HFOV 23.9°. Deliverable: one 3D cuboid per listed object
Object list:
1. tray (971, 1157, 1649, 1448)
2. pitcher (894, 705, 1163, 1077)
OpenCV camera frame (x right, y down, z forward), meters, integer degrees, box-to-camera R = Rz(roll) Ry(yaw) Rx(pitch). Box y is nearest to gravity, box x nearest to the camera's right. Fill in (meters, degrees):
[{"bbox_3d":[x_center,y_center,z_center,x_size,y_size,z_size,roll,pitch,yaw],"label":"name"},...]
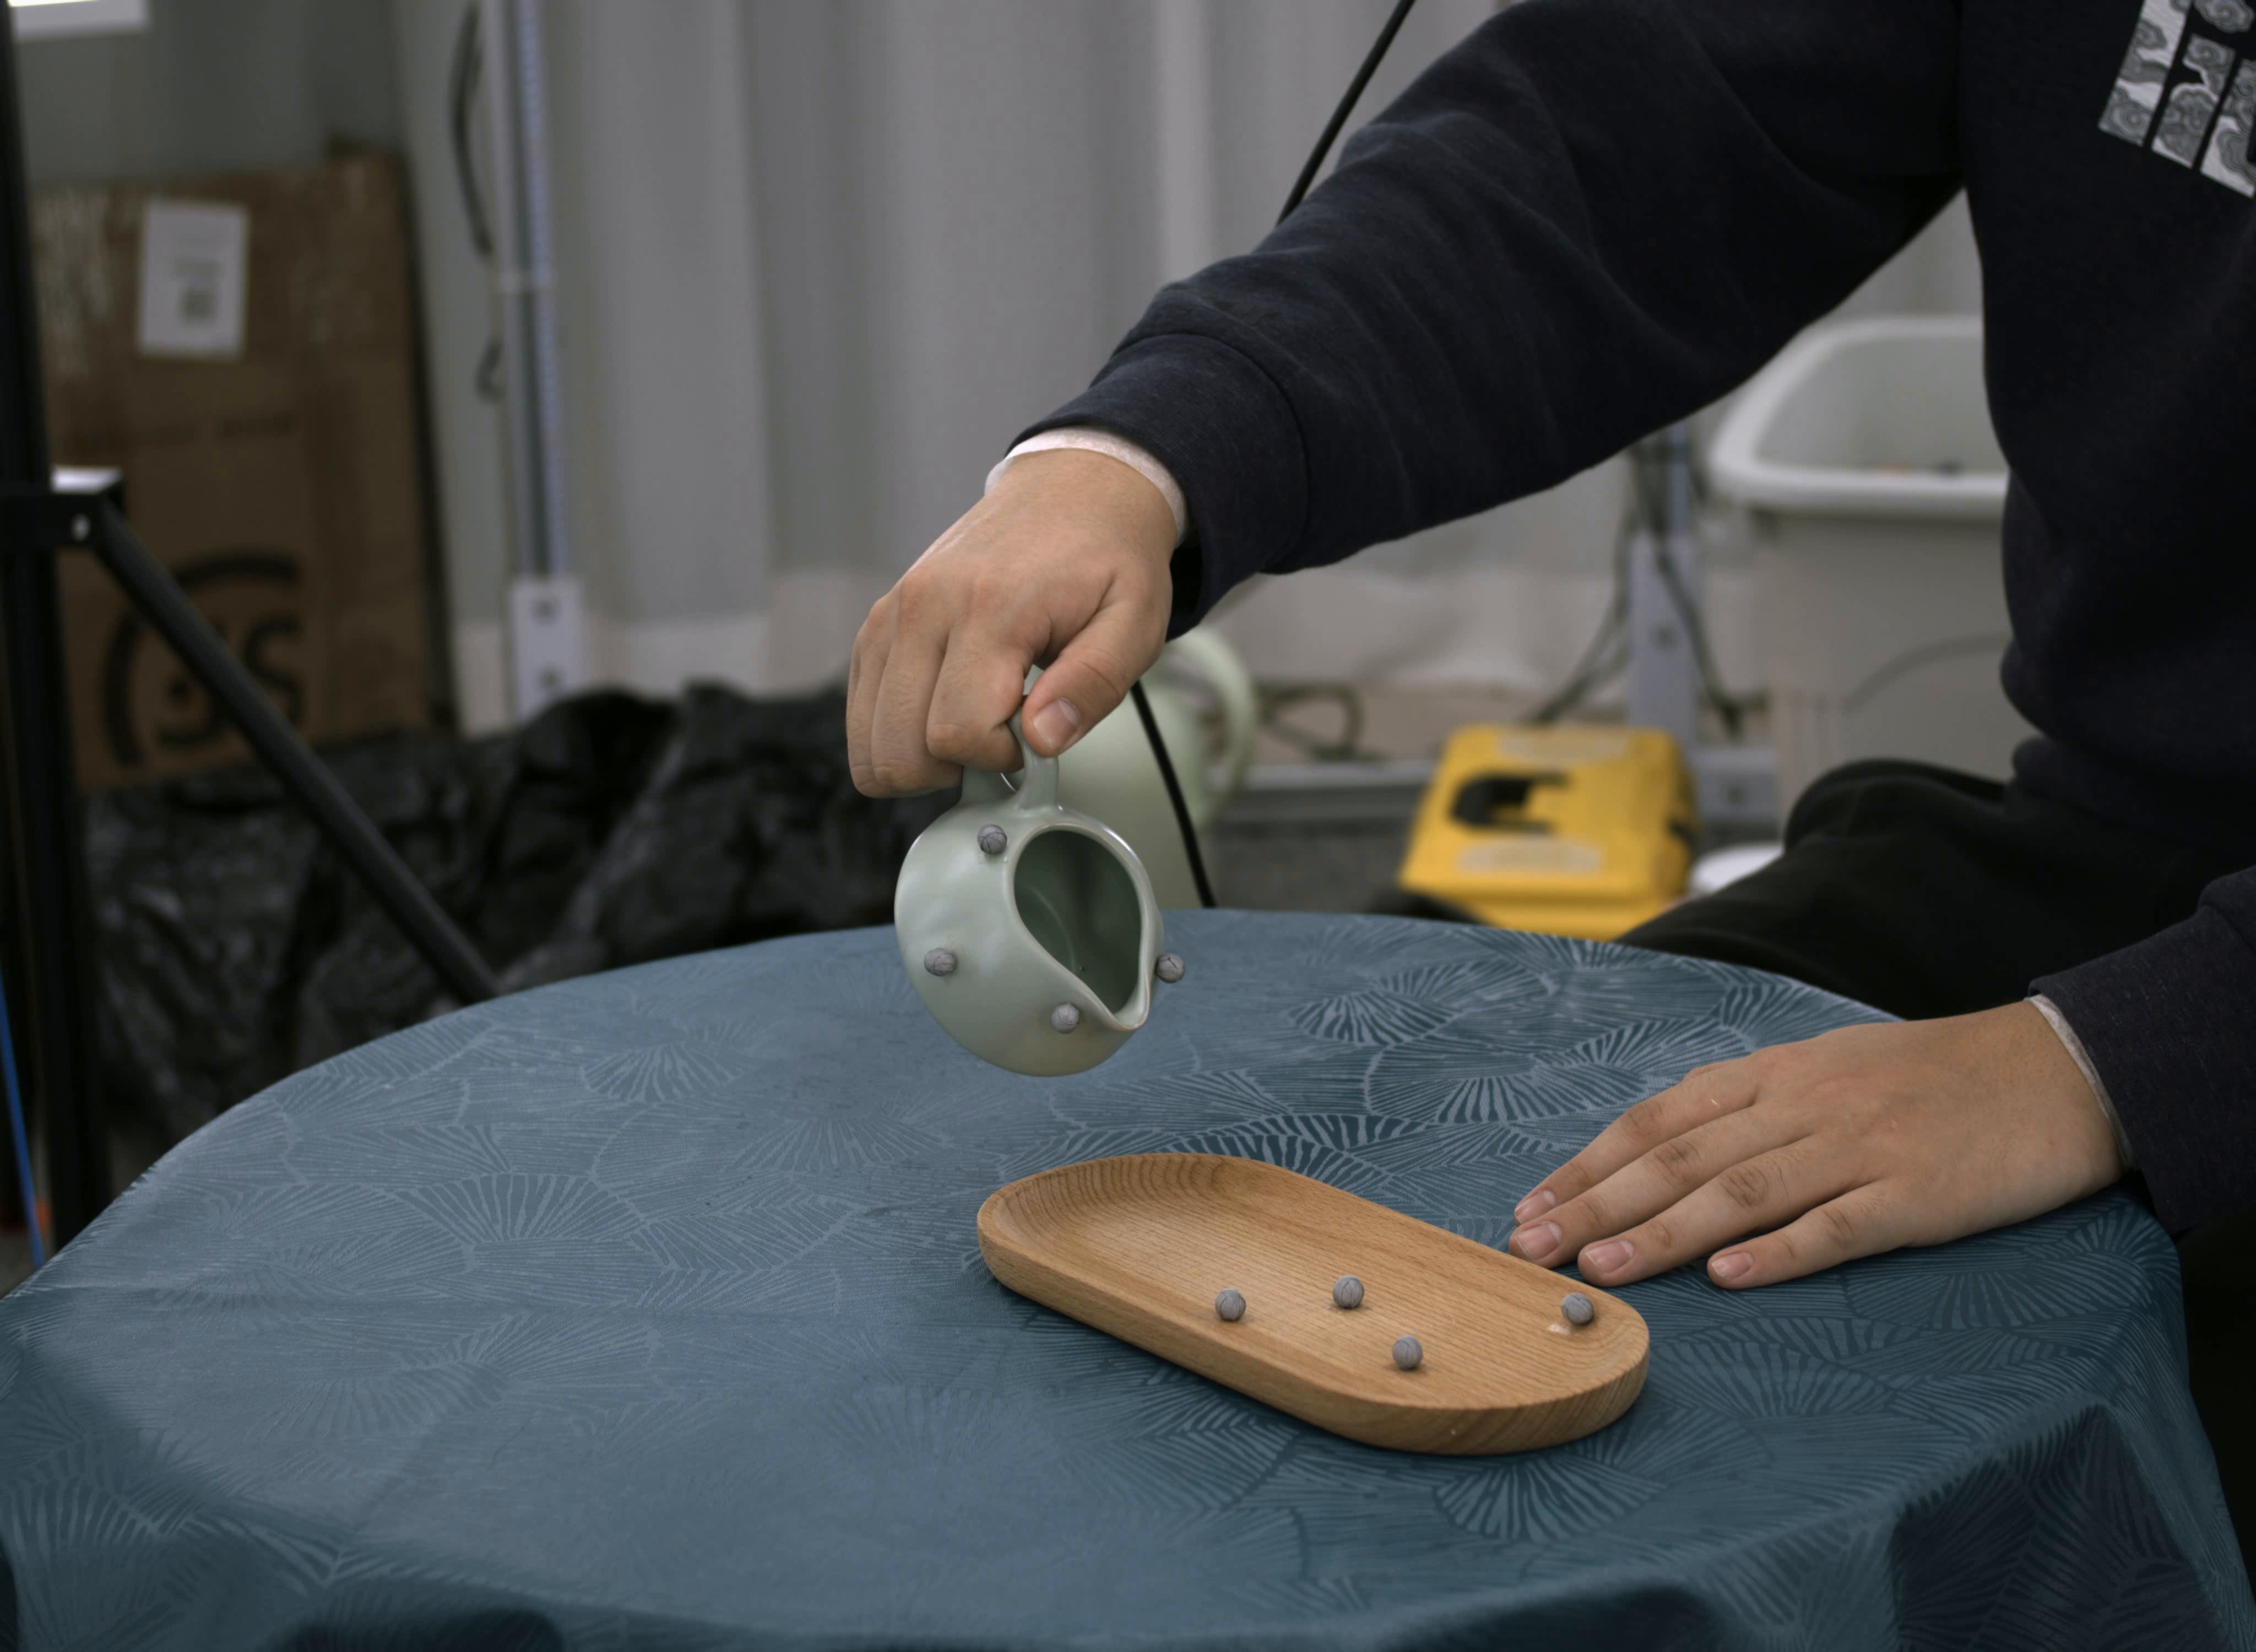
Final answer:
[{"bbox_3d":[0.047,0.129,1.449,0.099,0.020,0.236,-12,16,-35],"label":"tray"},{"bbox_3d":[-0.029,0.019,1.539,0.084,0.109,0.061,-12,-16,-37],"label":"pitcher"}]
